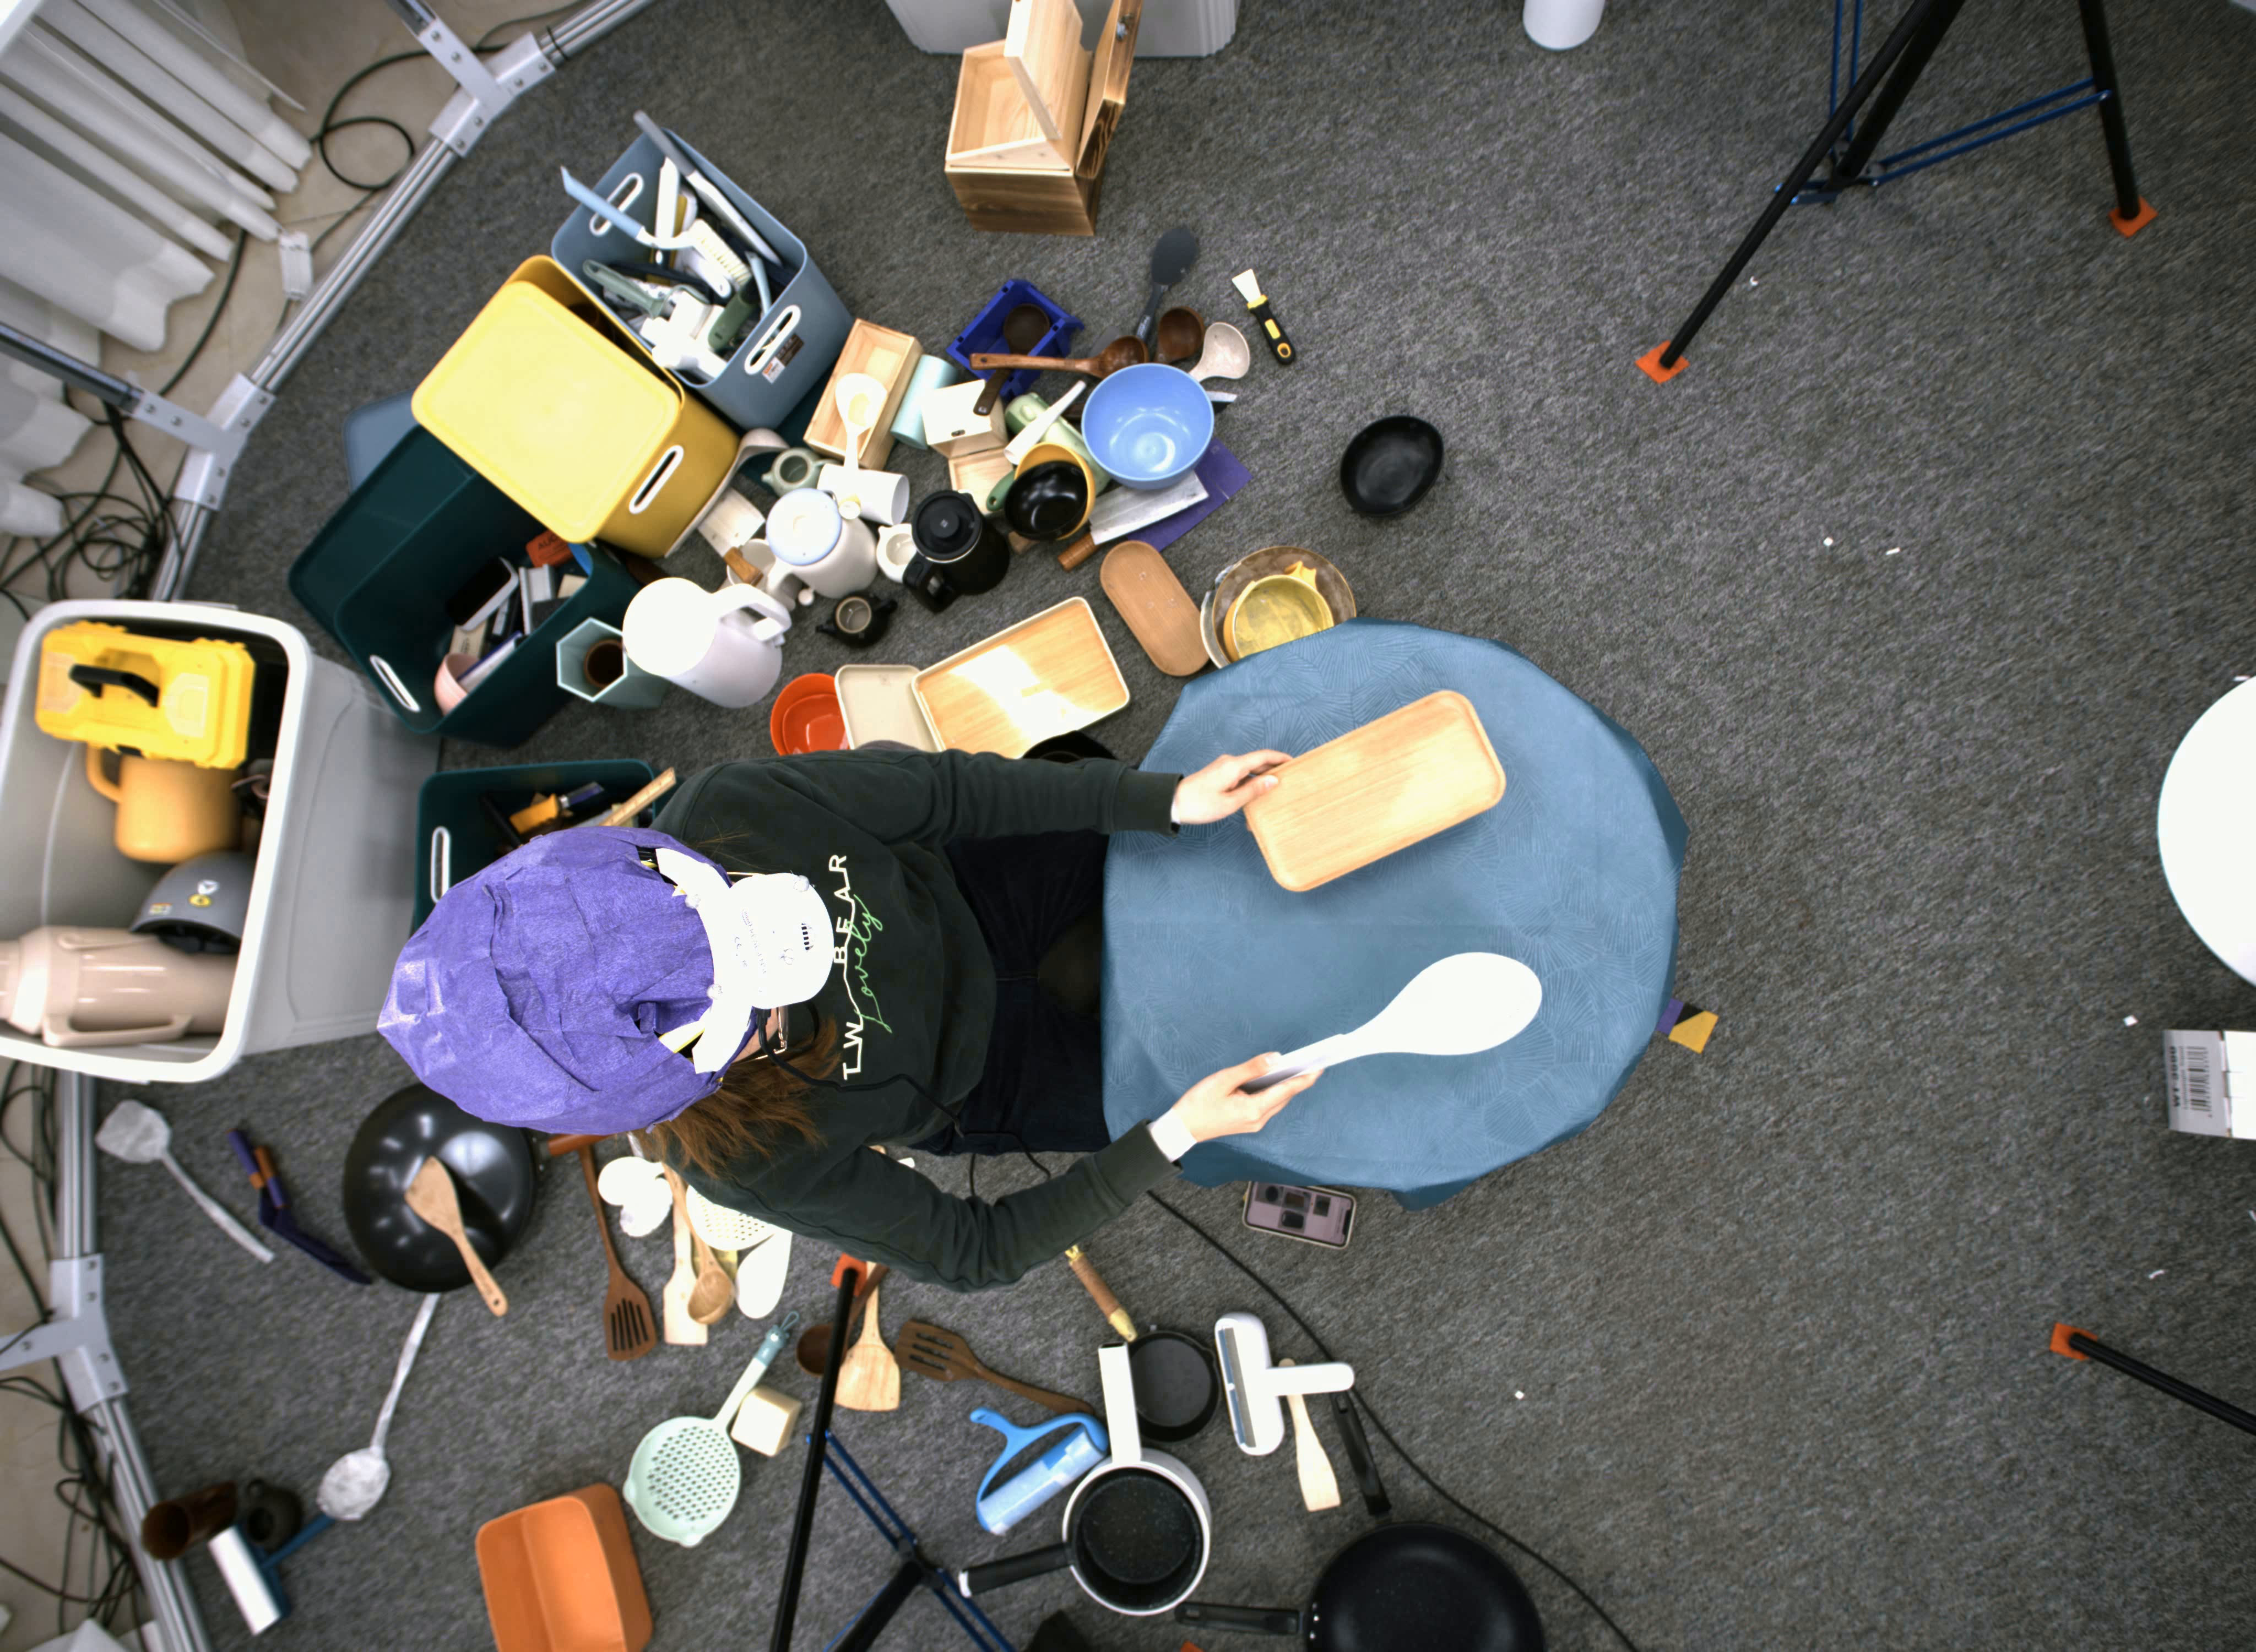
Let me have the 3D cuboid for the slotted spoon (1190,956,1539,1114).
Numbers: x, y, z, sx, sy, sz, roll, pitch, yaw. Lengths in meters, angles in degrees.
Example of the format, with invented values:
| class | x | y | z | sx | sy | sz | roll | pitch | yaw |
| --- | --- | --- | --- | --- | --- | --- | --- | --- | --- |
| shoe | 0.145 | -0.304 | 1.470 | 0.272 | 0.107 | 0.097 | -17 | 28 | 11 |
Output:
| class | x | y | z | sx | sy | sz | roll | pitch | yaw |
| --- | --- | --- | --- | --- | --- | --- | --- | --- | --- |
| slotted spoon | 0.221 | 0.206 | 1.325 | 0.352 | 0.138 | 0.044 | -26 | 42 | 11 |

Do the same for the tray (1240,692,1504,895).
| class | x | y | z | sx | sy | sz | roll | pitch | yaw |
| --- | --- | --- | --- | --- | --- | --- | --- | --- | --- |
| tray | 0.243 | -0.033 | 1.384 | 0.253 | 0.023 | 0.130 | -25 | 86 | 12 |
